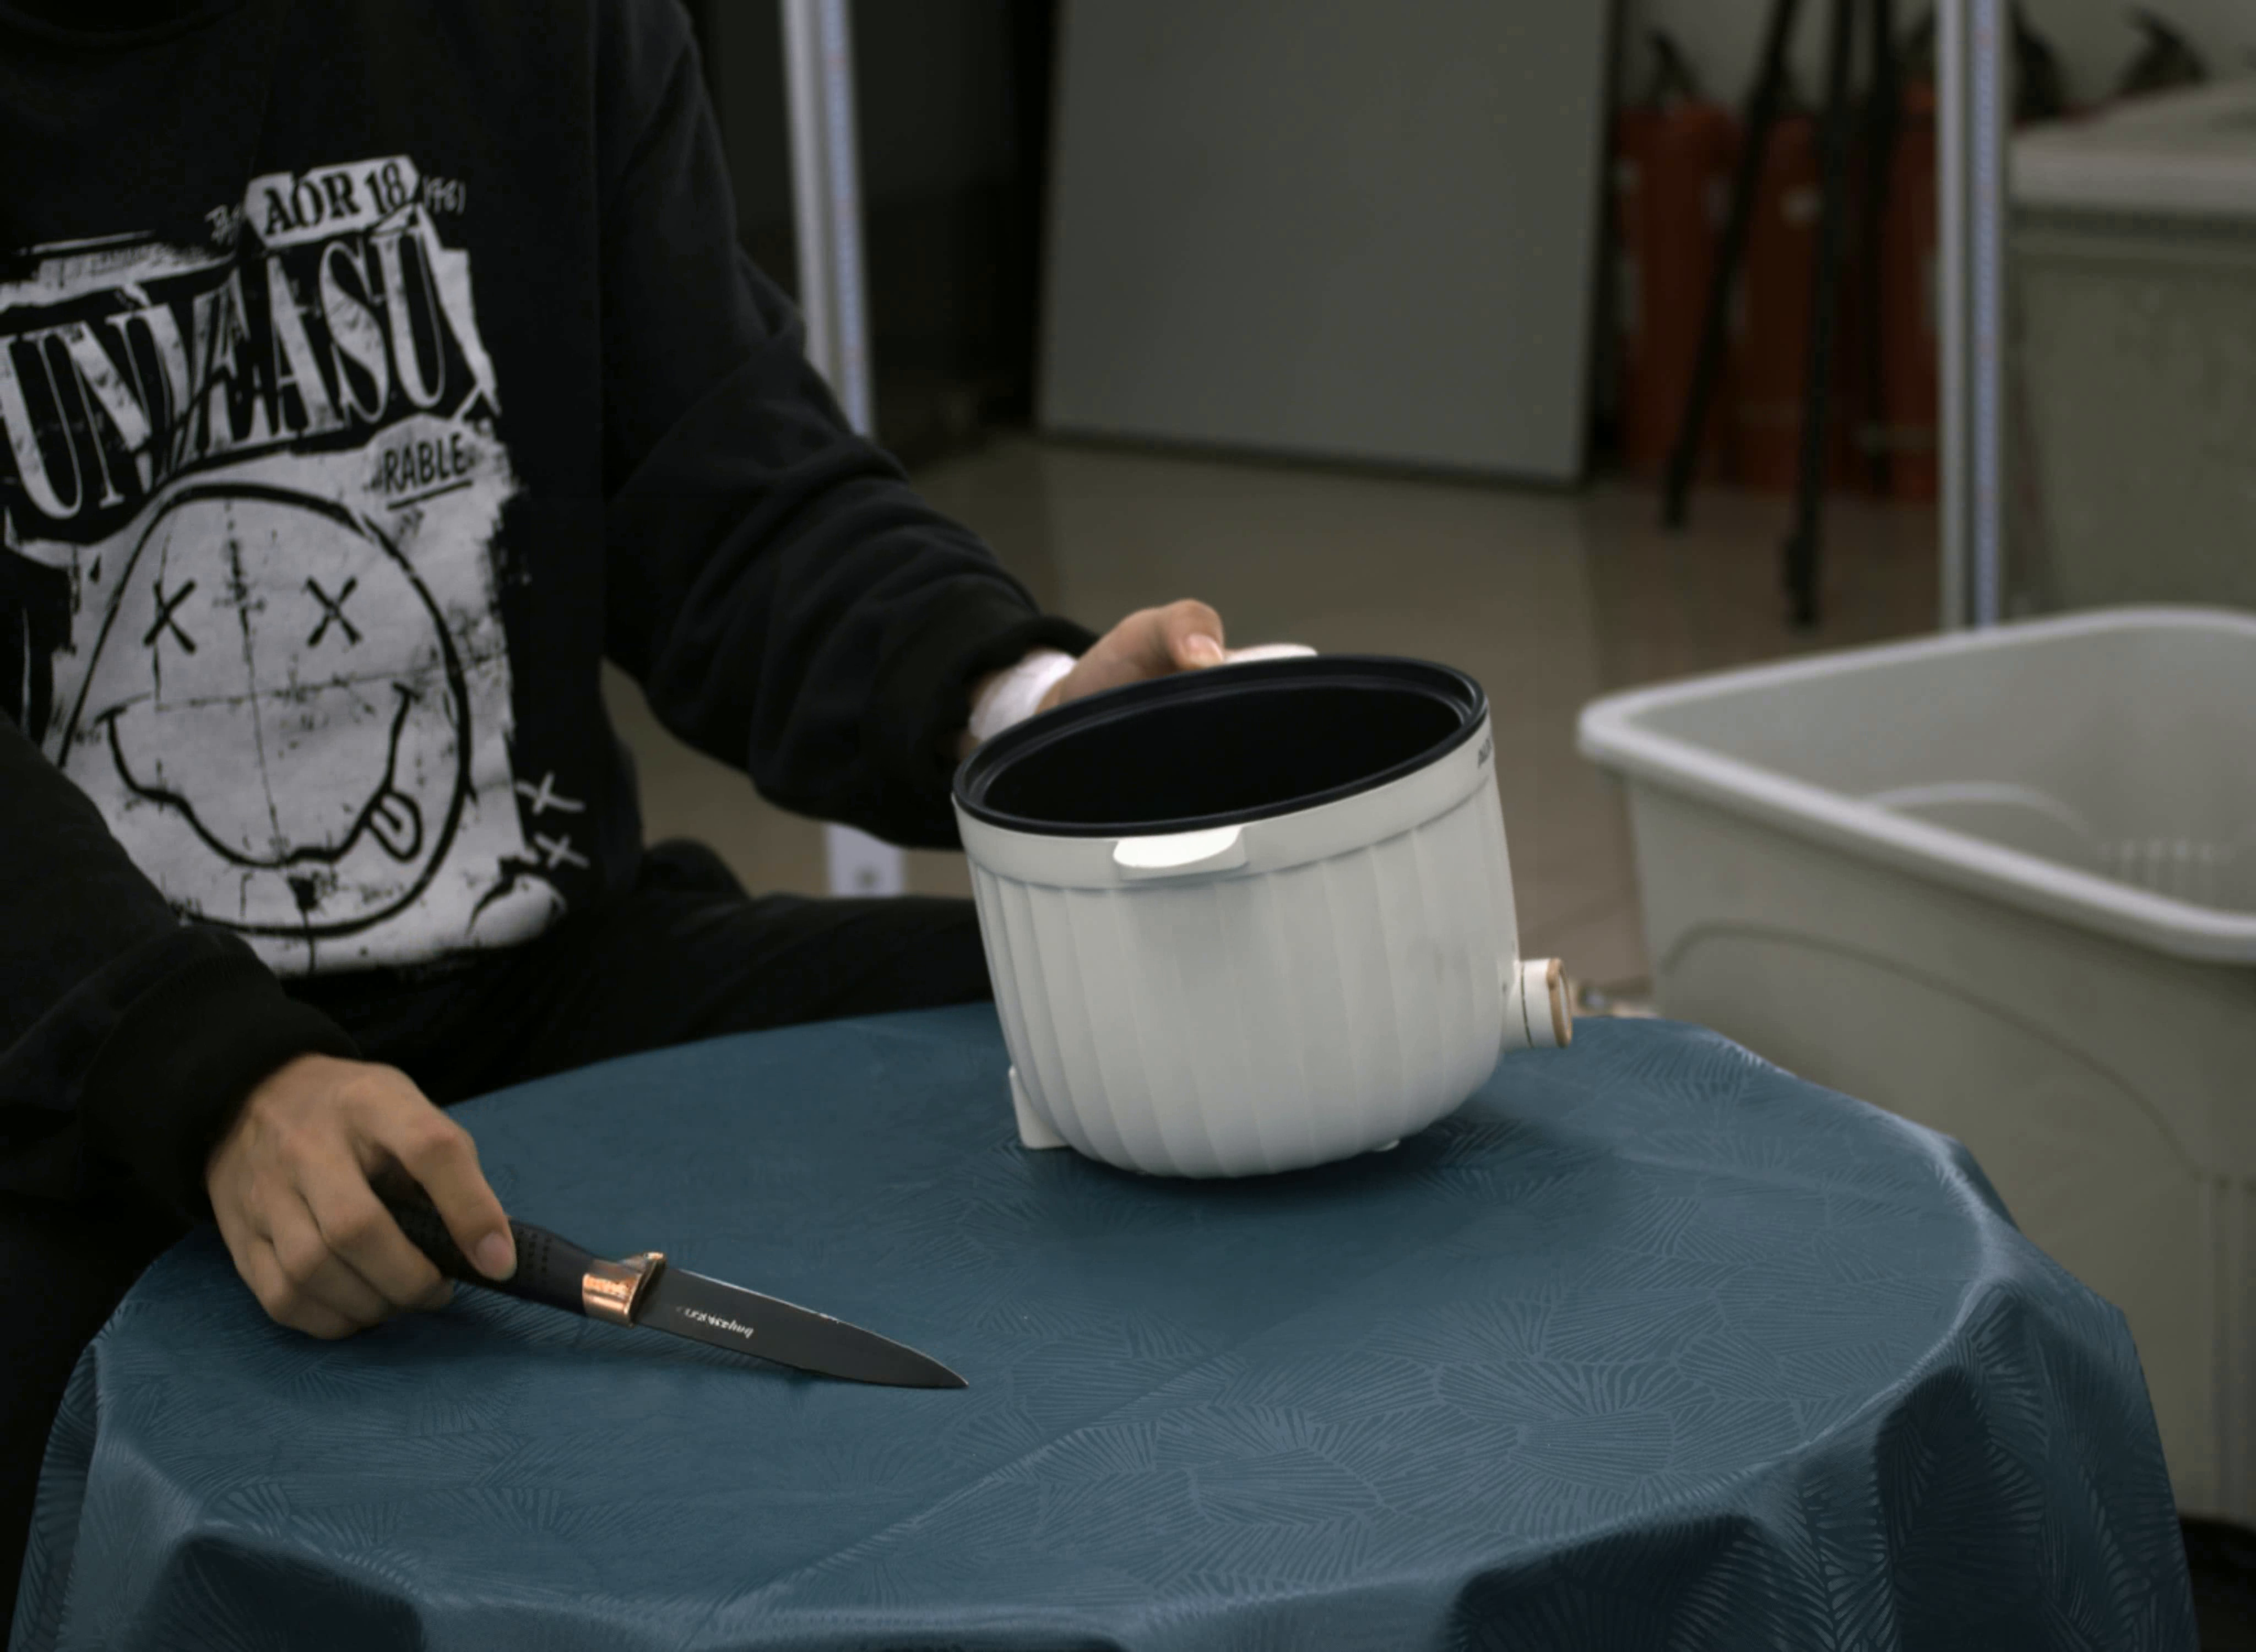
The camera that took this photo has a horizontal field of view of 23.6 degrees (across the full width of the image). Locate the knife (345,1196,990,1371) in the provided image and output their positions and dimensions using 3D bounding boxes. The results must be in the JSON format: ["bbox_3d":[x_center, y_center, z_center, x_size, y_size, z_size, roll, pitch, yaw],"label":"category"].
[{"bbox_3d":[-0.143,0.143,1.650,0.226,0.017,0.026,11,48,27],"label":"knife"}]

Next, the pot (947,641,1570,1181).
[{"bbox_3d":[0.045,0.031,1.803,0.189,0.144,0.240,-11,17,13],"label":"pot"}]
